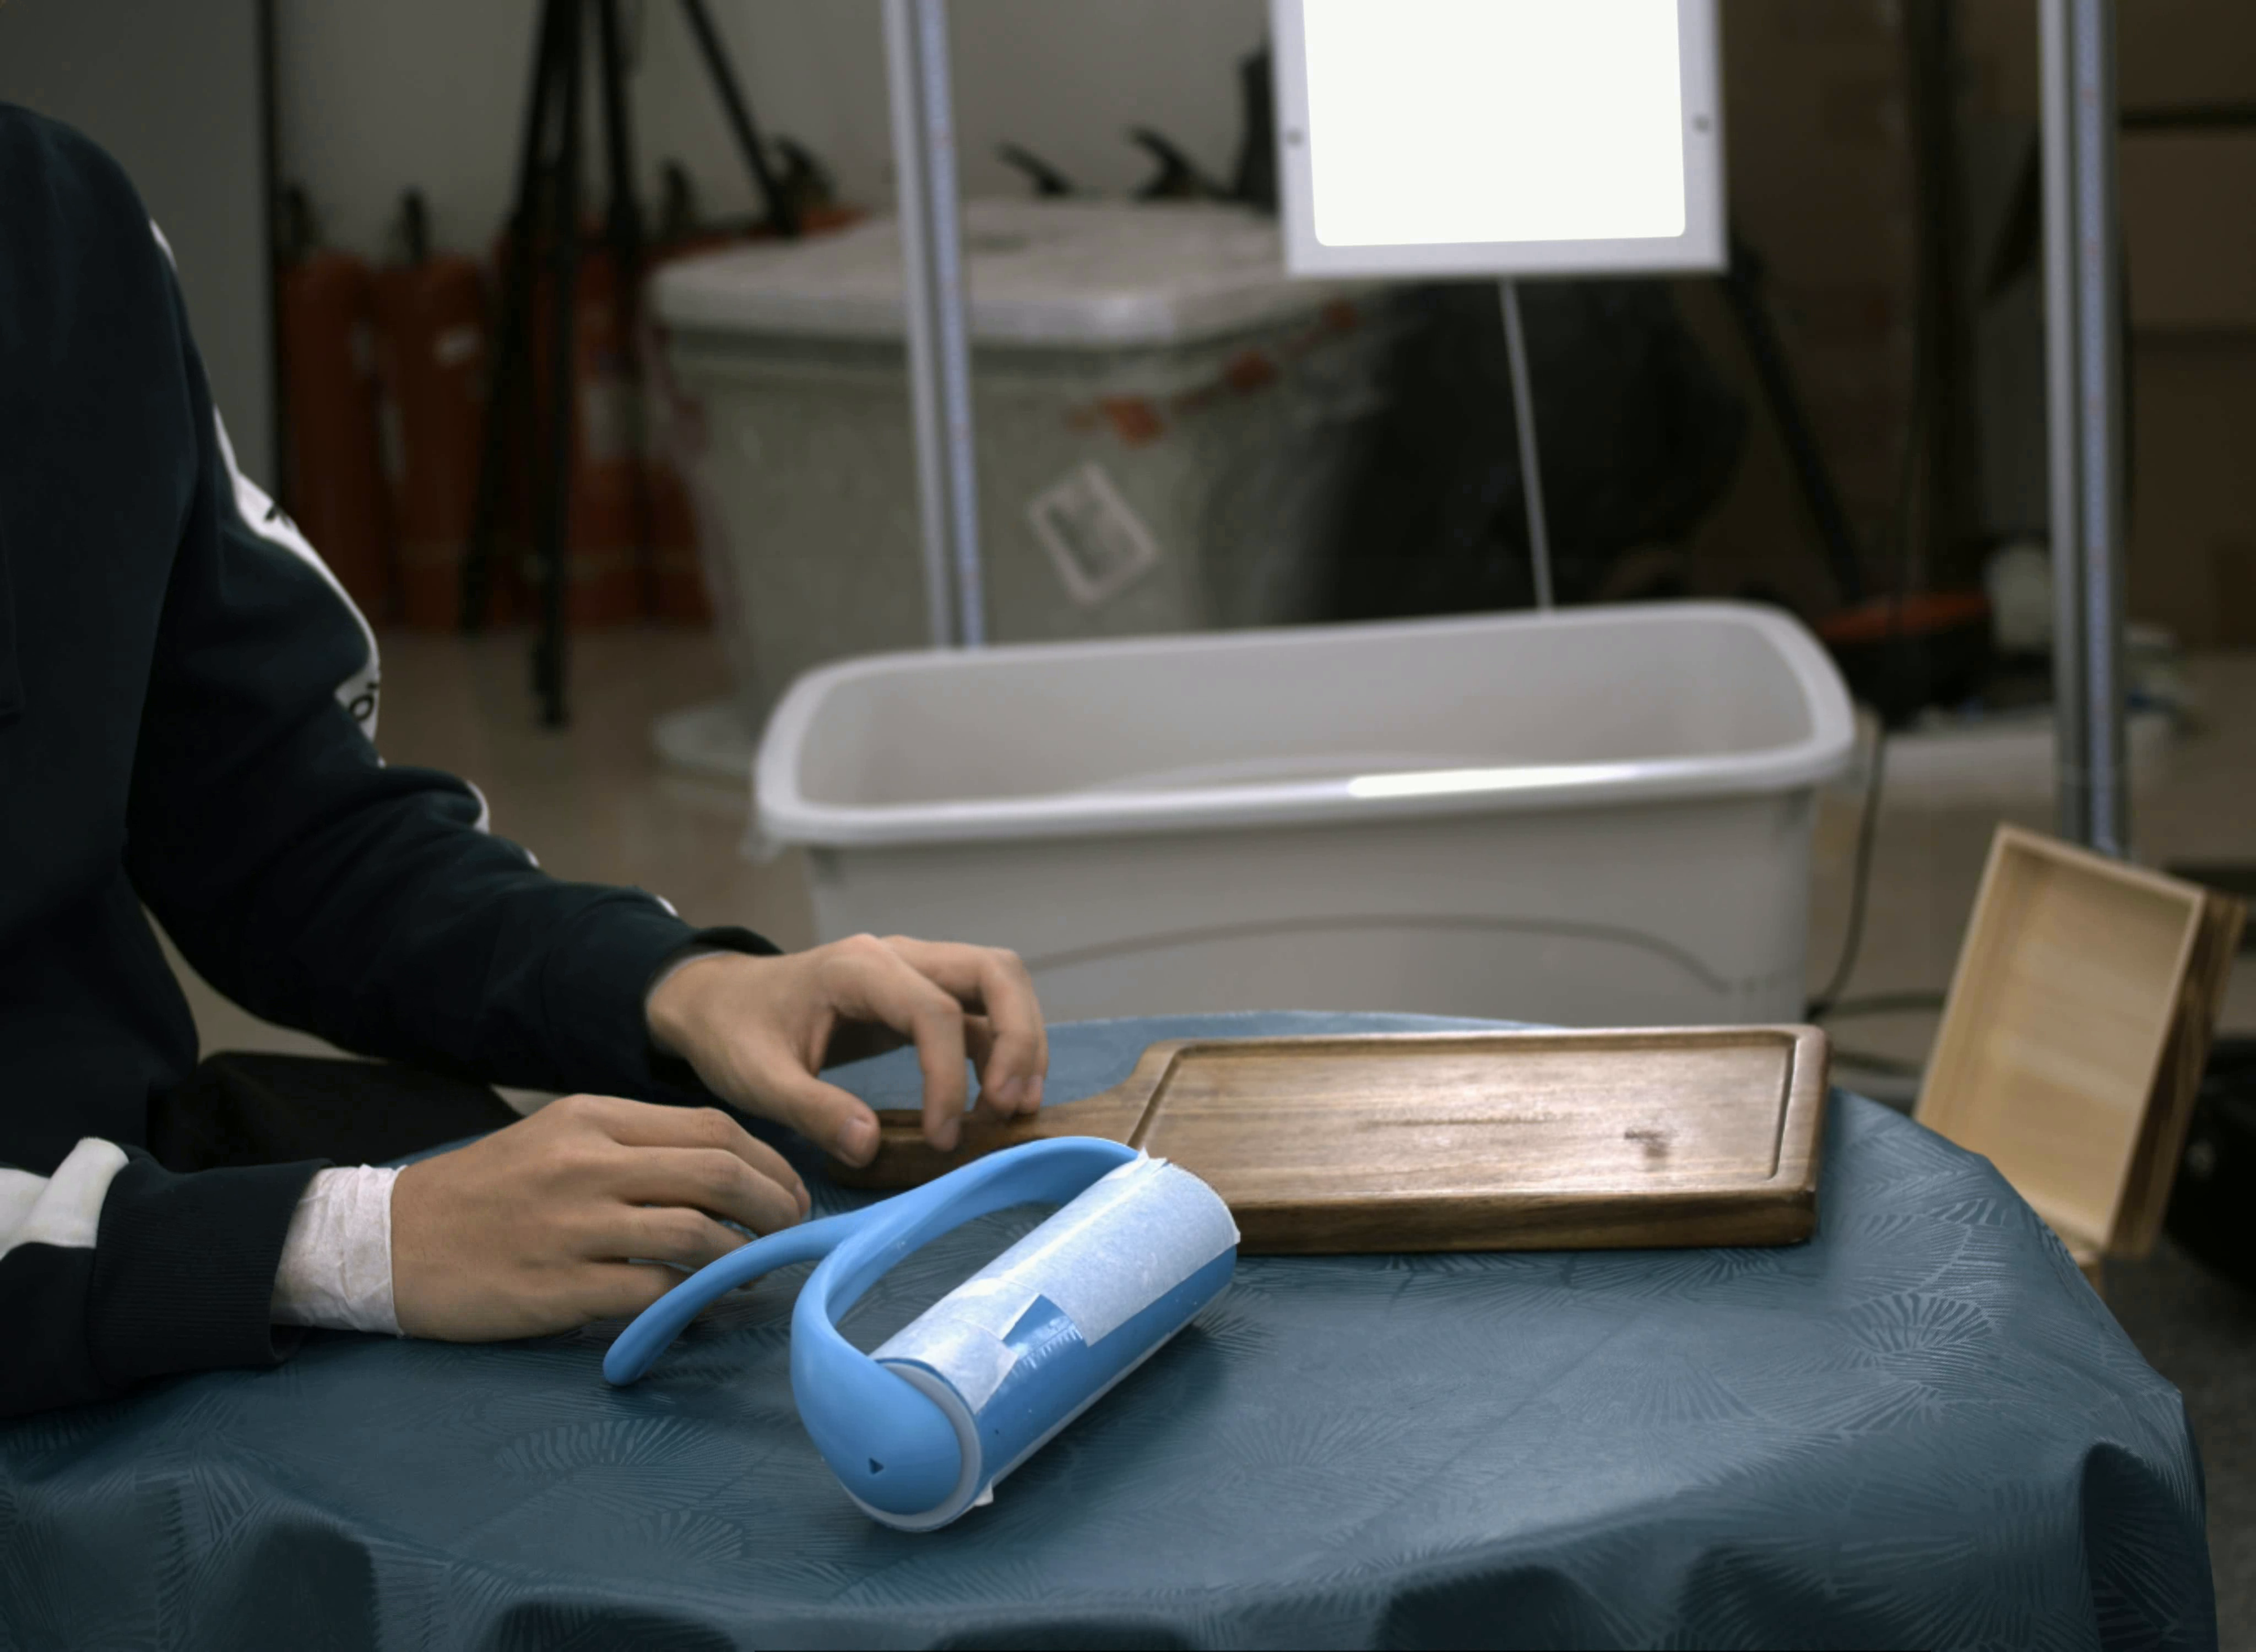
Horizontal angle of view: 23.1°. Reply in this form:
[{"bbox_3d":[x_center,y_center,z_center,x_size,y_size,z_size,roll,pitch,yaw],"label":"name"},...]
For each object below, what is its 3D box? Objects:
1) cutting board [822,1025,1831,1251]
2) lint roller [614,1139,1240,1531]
[{"bbox_3d":[0.067,0.108,1.900,0.354,0.023,0.199,-2,13,11],"label":"cutting board"},{"bbox_3d":[-0.081,0.153,1.699,0.183,0.068,0.225,1,16,22],"label":"lint roller"}]
